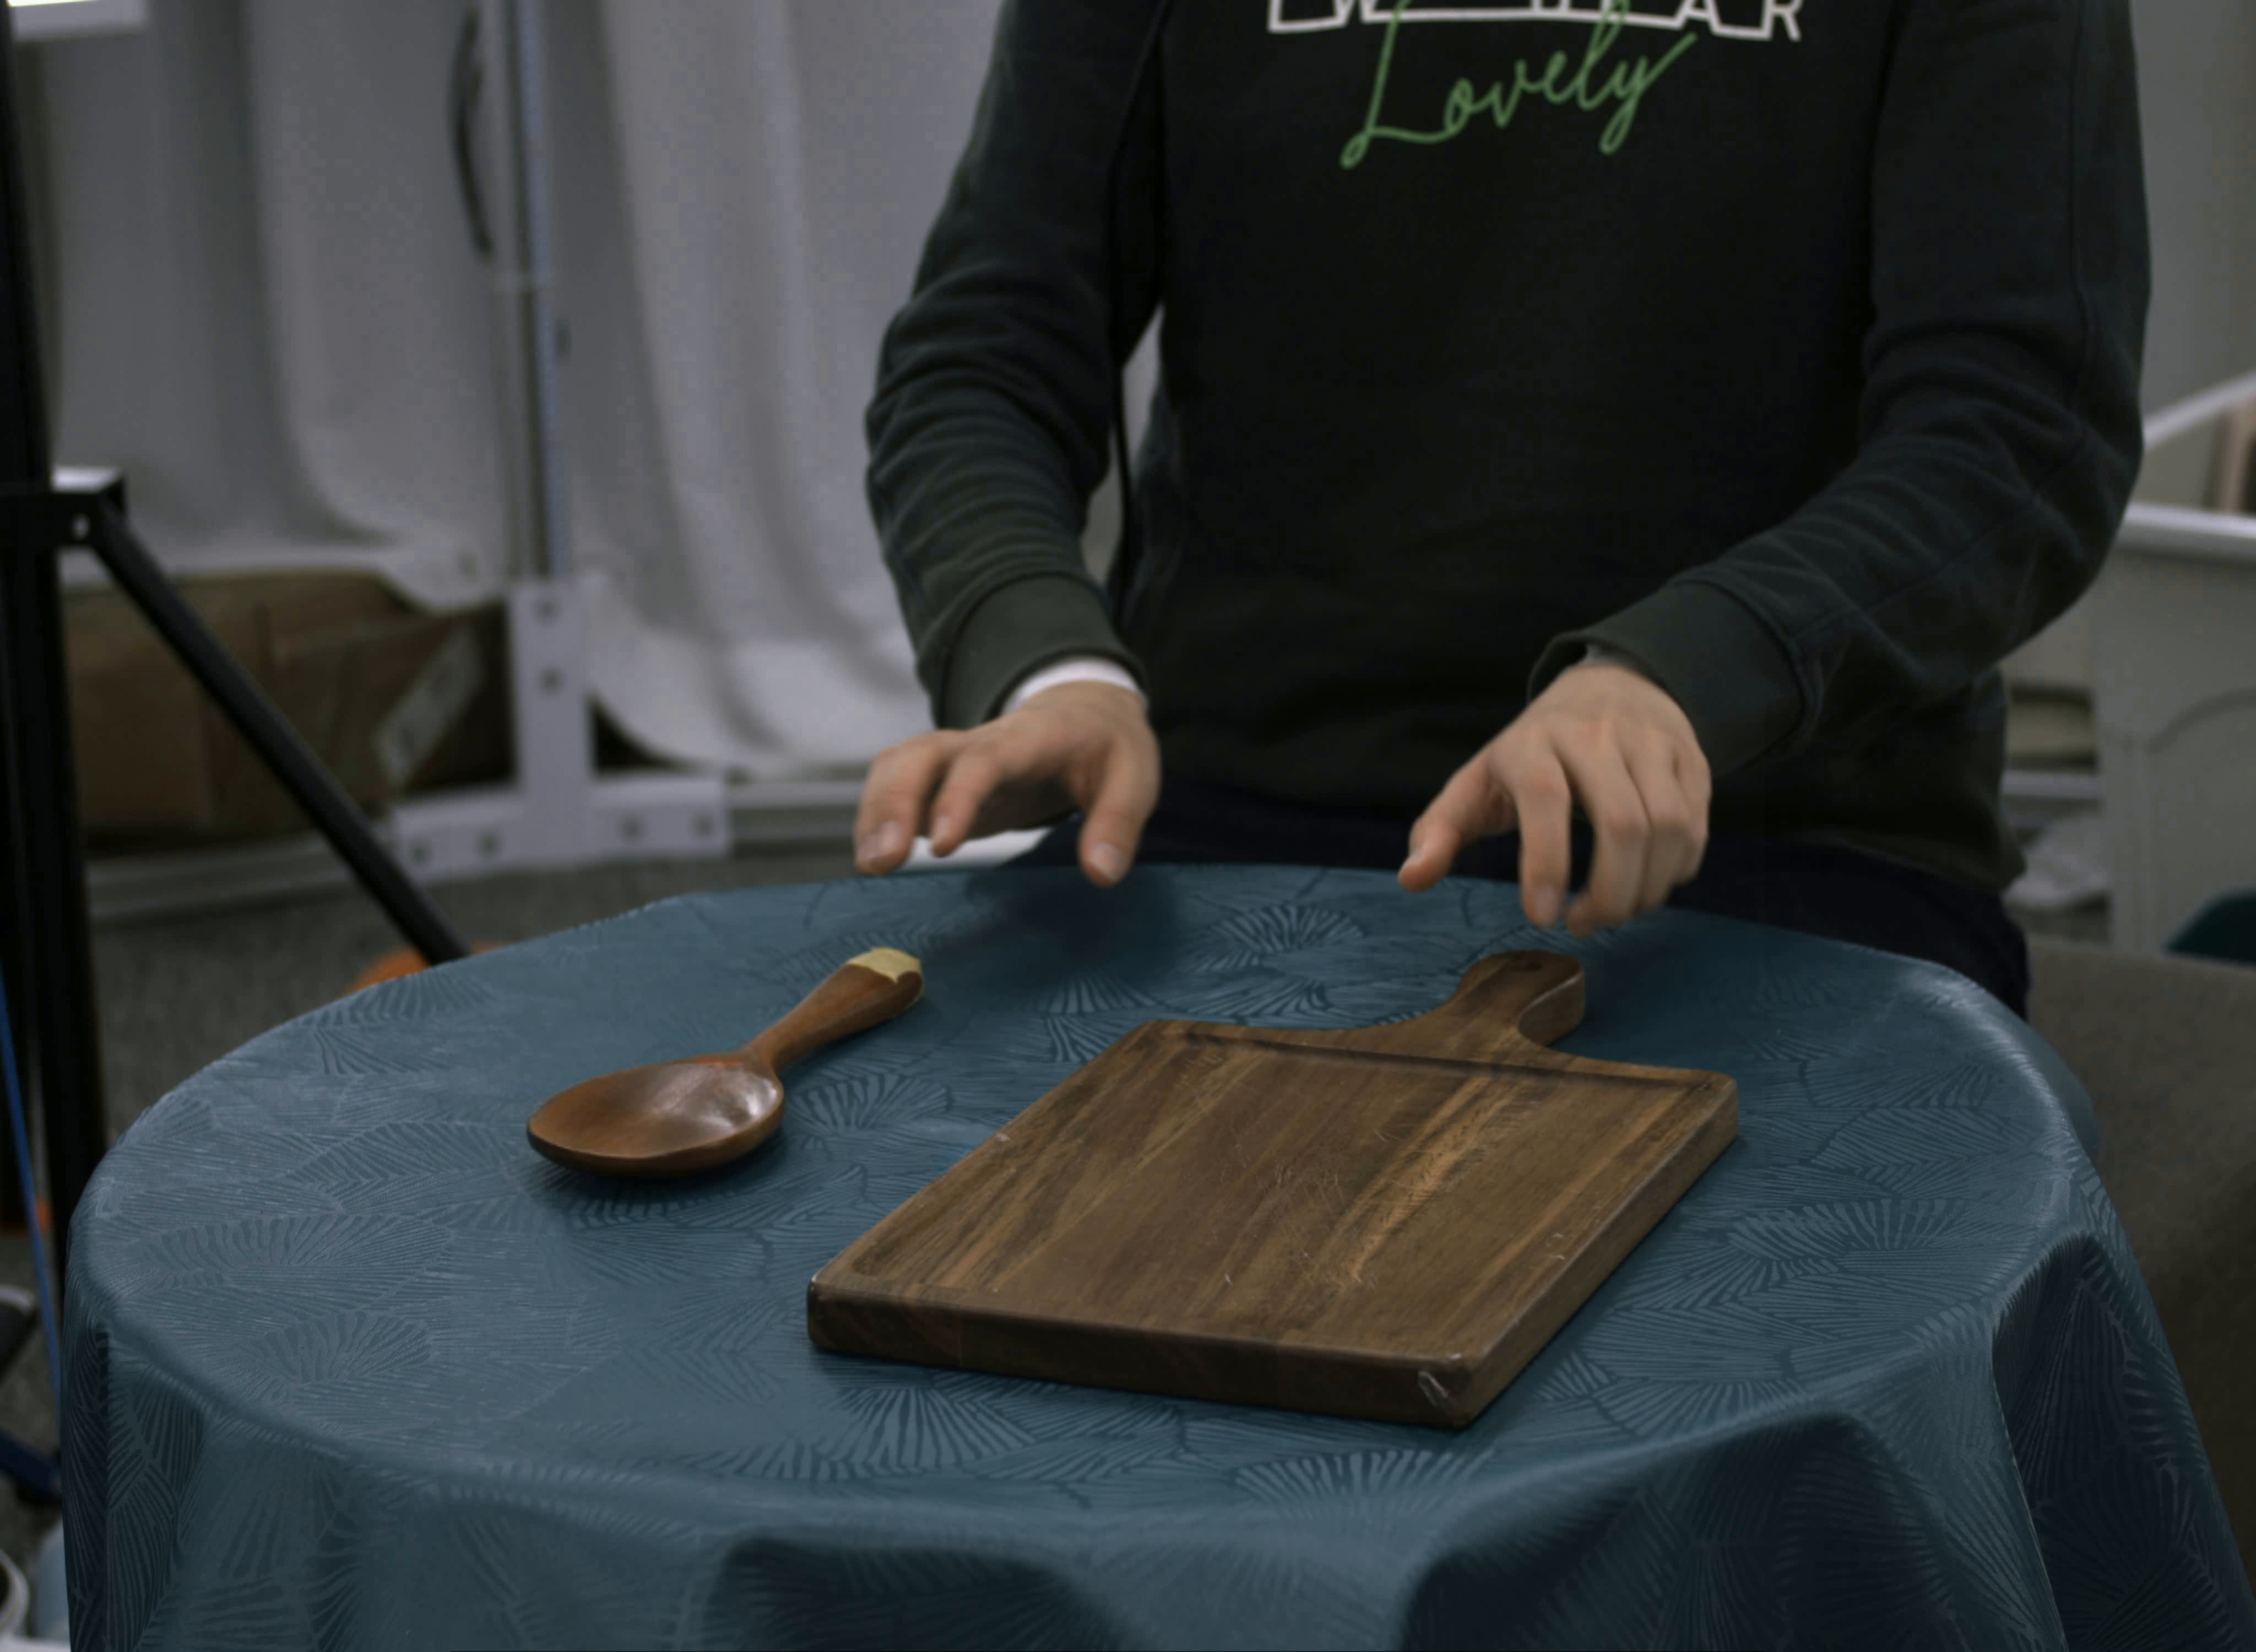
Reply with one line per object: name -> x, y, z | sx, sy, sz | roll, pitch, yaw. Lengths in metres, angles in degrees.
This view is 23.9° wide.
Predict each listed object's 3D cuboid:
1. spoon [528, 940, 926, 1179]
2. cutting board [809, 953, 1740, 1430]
spoon -> -0.115, 0.074, 1.664 | 0.076, 0.017, 0.213 | 3, 17, 24
cutting board -> 0.067, 0.097, 1.554 | 0.204, 0.023, 0.347 | 3, 17, 23
